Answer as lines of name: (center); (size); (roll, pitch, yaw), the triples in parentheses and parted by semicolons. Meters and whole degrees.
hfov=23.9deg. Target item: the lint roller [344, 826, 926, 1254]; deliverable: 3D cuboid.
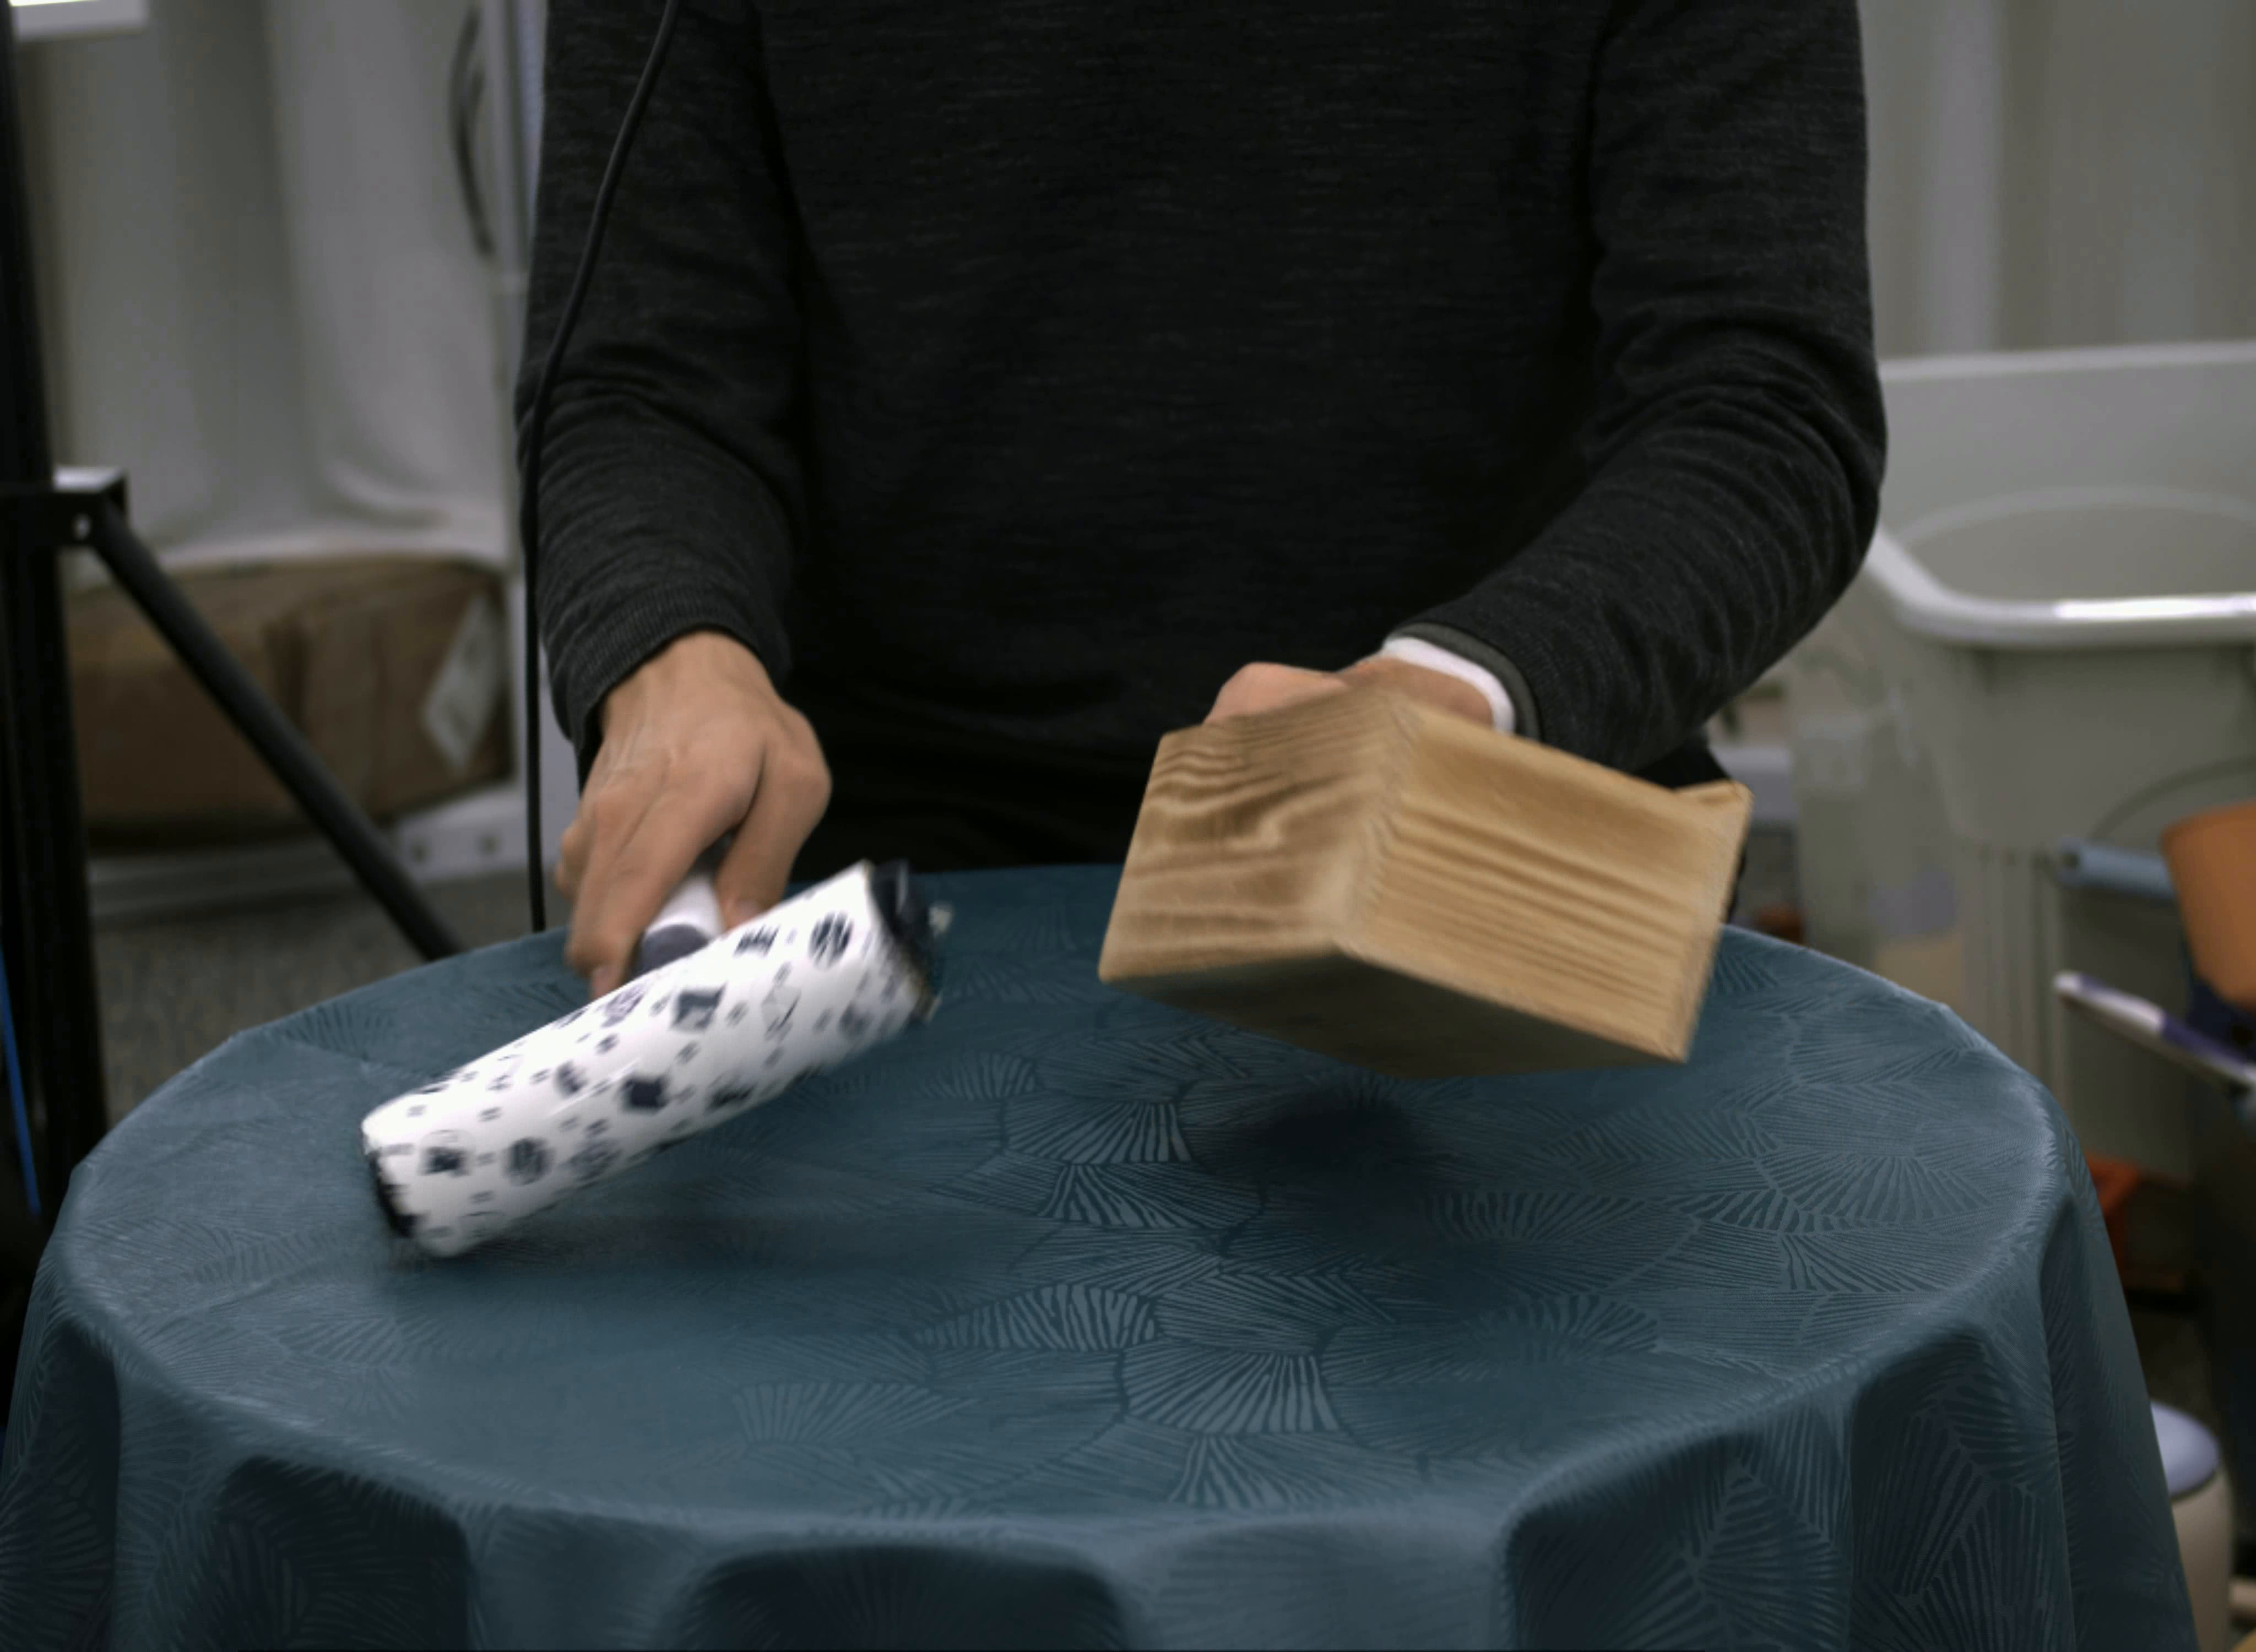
lint roller: (-0.144, 0.040, 1.617); (0.176, 0.050, 0.248); (-25, 17, 7)

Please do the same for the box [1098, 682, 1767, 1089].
box: (0.082, 0.022, 1.518); (0.105, 0.080, 0.214); (18, -9, -17)
